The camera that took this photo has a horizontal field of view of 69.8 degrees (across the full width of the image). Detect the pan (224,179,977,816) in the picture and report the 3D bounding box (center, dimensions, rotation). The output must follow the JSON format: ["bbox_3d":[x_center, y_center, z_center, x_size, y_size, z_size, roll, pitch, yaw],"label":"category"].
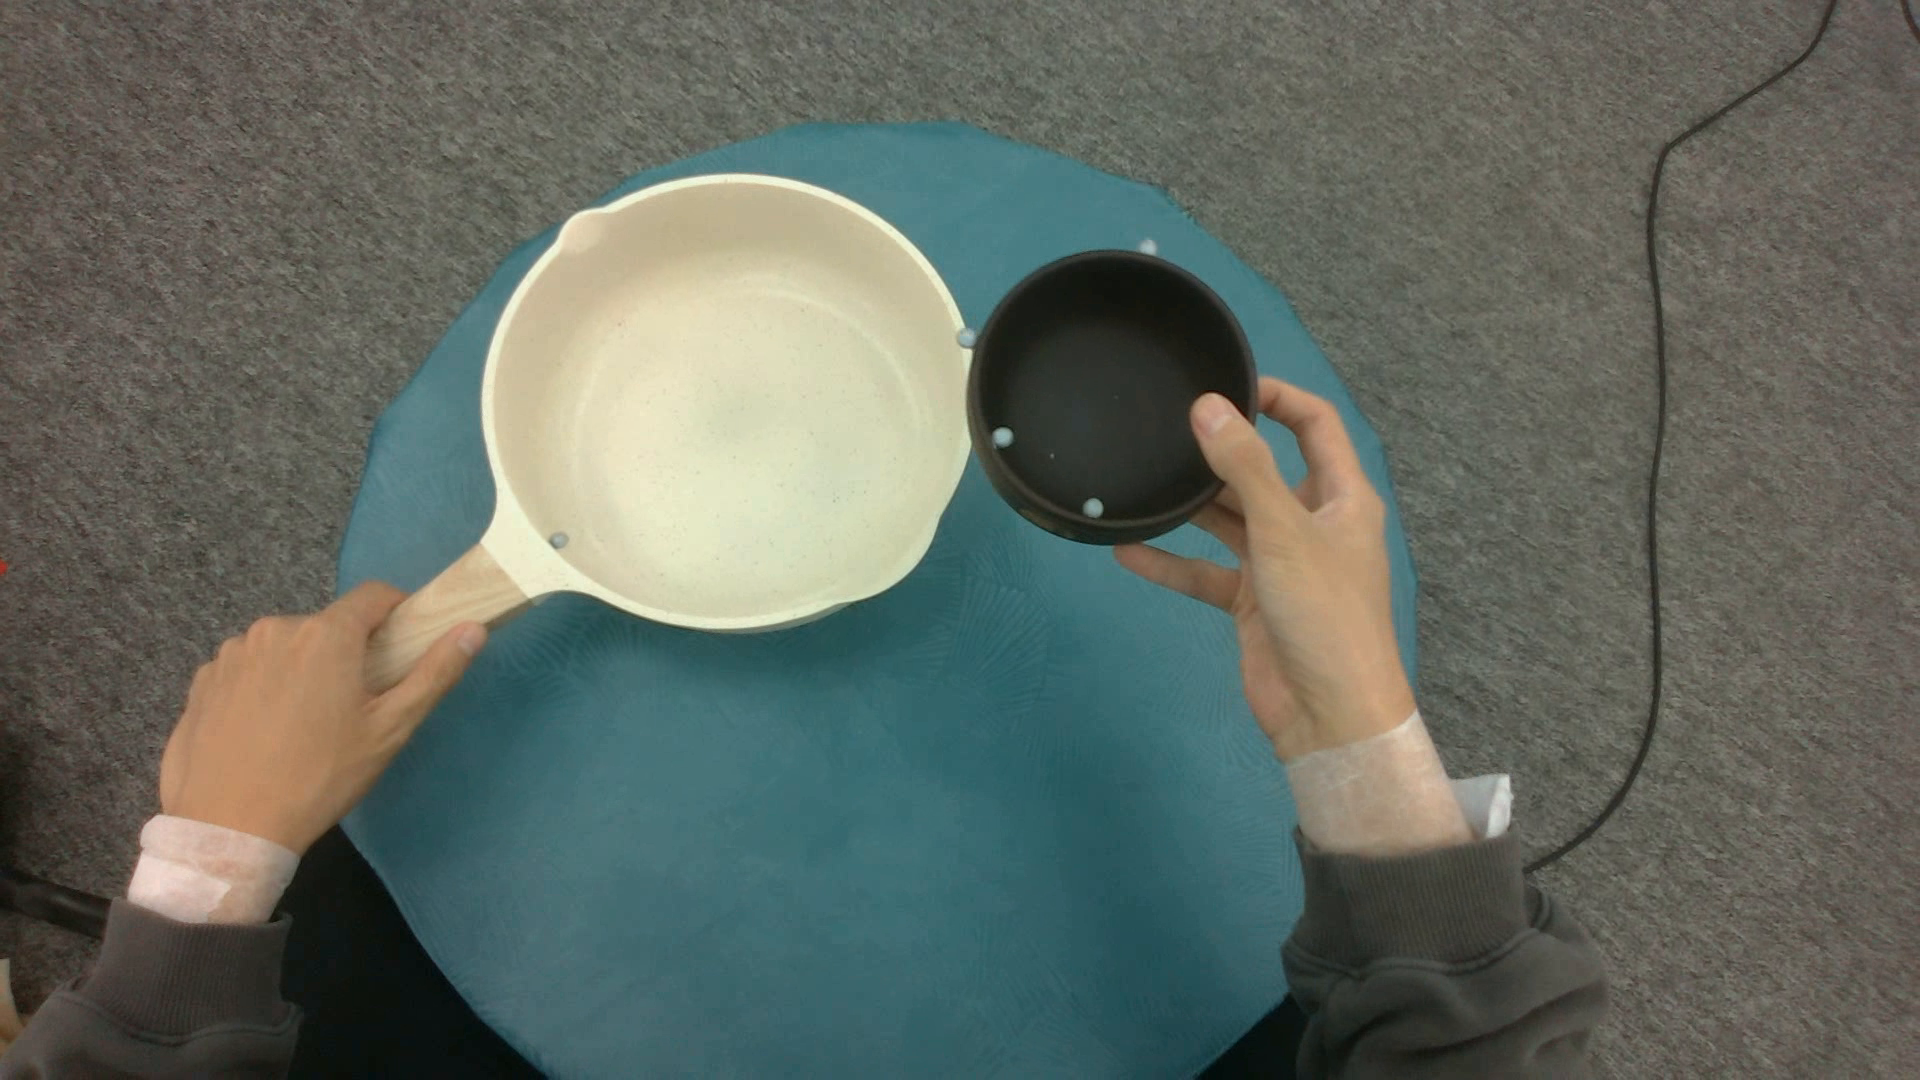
[{"bbox_3d":[-0.185,-0.009,0.735,0.436,0.101,0.263,-41,81,-12],"label":"pan"}]

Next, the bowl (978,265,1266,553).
[{"bbox_3d":[0.066,-0.051,0.589,0.118,0.070,0.118,1,79,-2],"label":"bowl"}]
